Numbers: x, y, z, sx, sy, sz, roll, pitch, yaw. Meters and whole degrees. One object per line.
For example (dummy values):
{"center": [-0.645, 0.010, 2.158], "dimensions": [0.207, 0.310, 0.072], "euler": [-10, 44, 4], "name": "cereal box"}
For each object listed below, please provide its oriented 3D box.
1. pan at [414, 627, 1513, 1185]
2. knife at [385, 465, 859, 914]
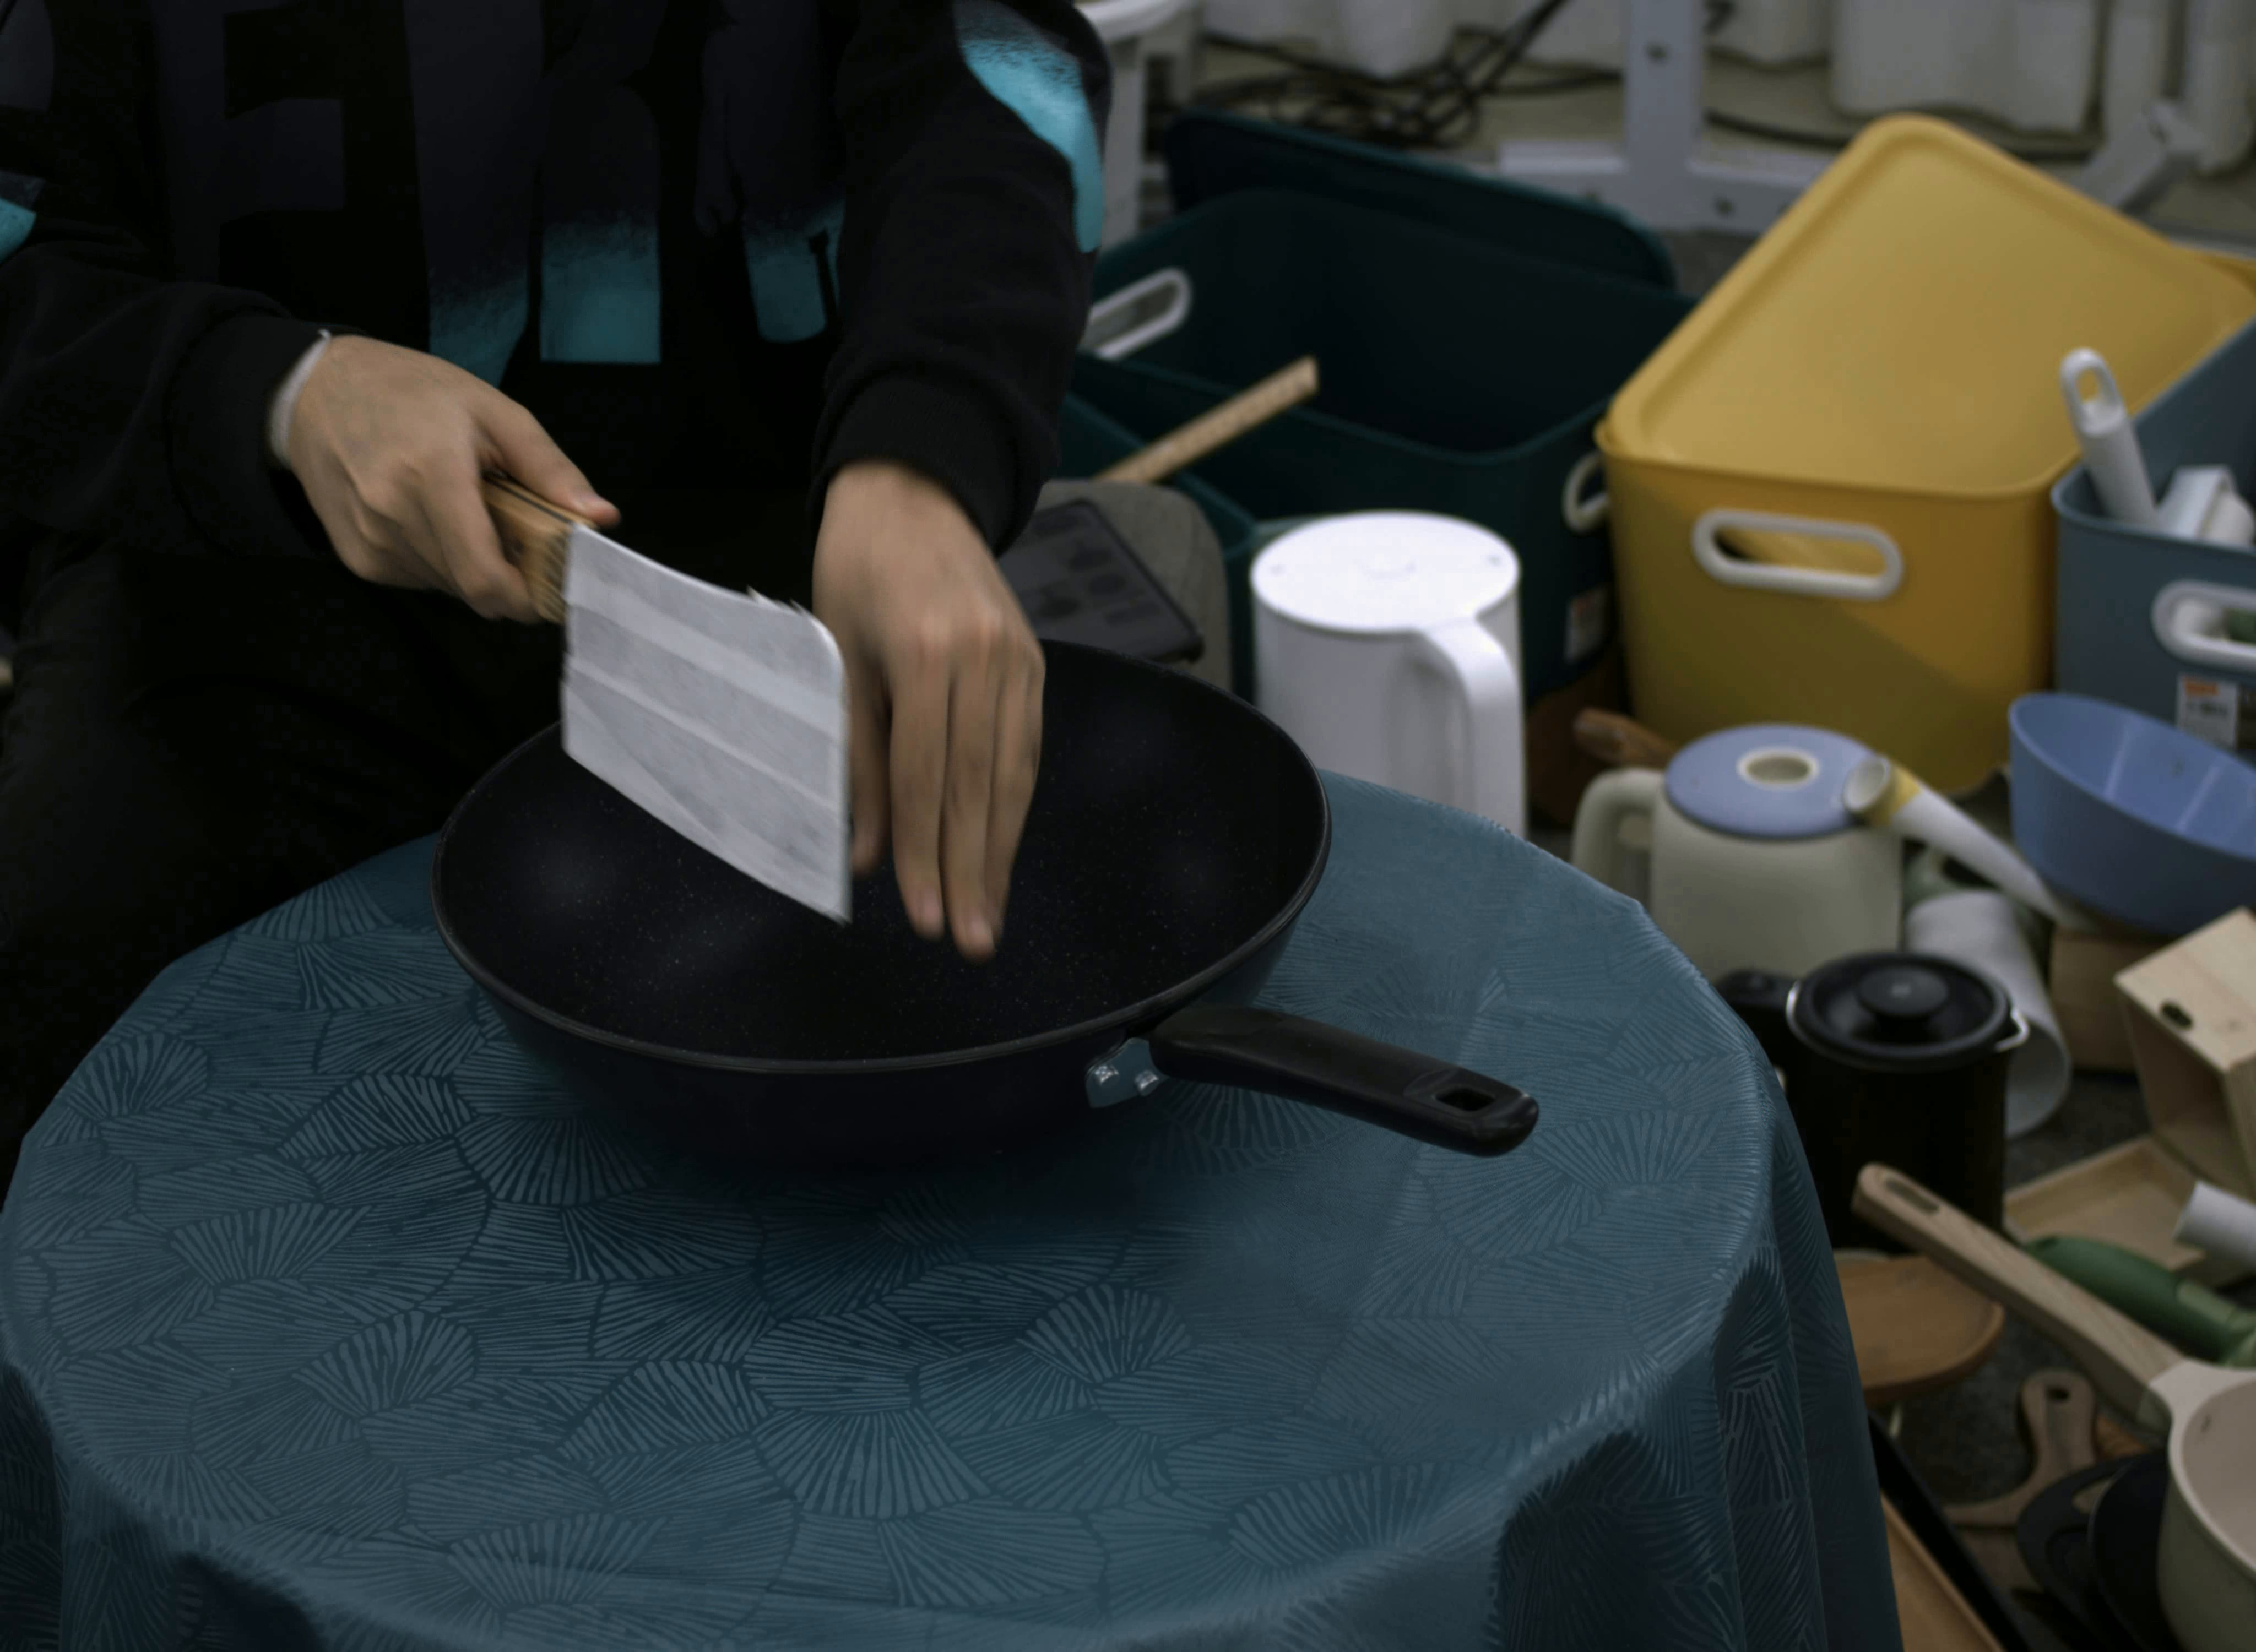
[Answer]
{"center": [-0.036, 0.057, 1.877], "dimensions": [0.313, 0.110, 0.477], "euler": [-24, 34, -32], "name": "pan"}
{"center": [-0.173, -0.063, 1.926], "dimensions": [0.022, 0.113, 0.316], "euler": [-10, 27, -34], "name": "knife"}
